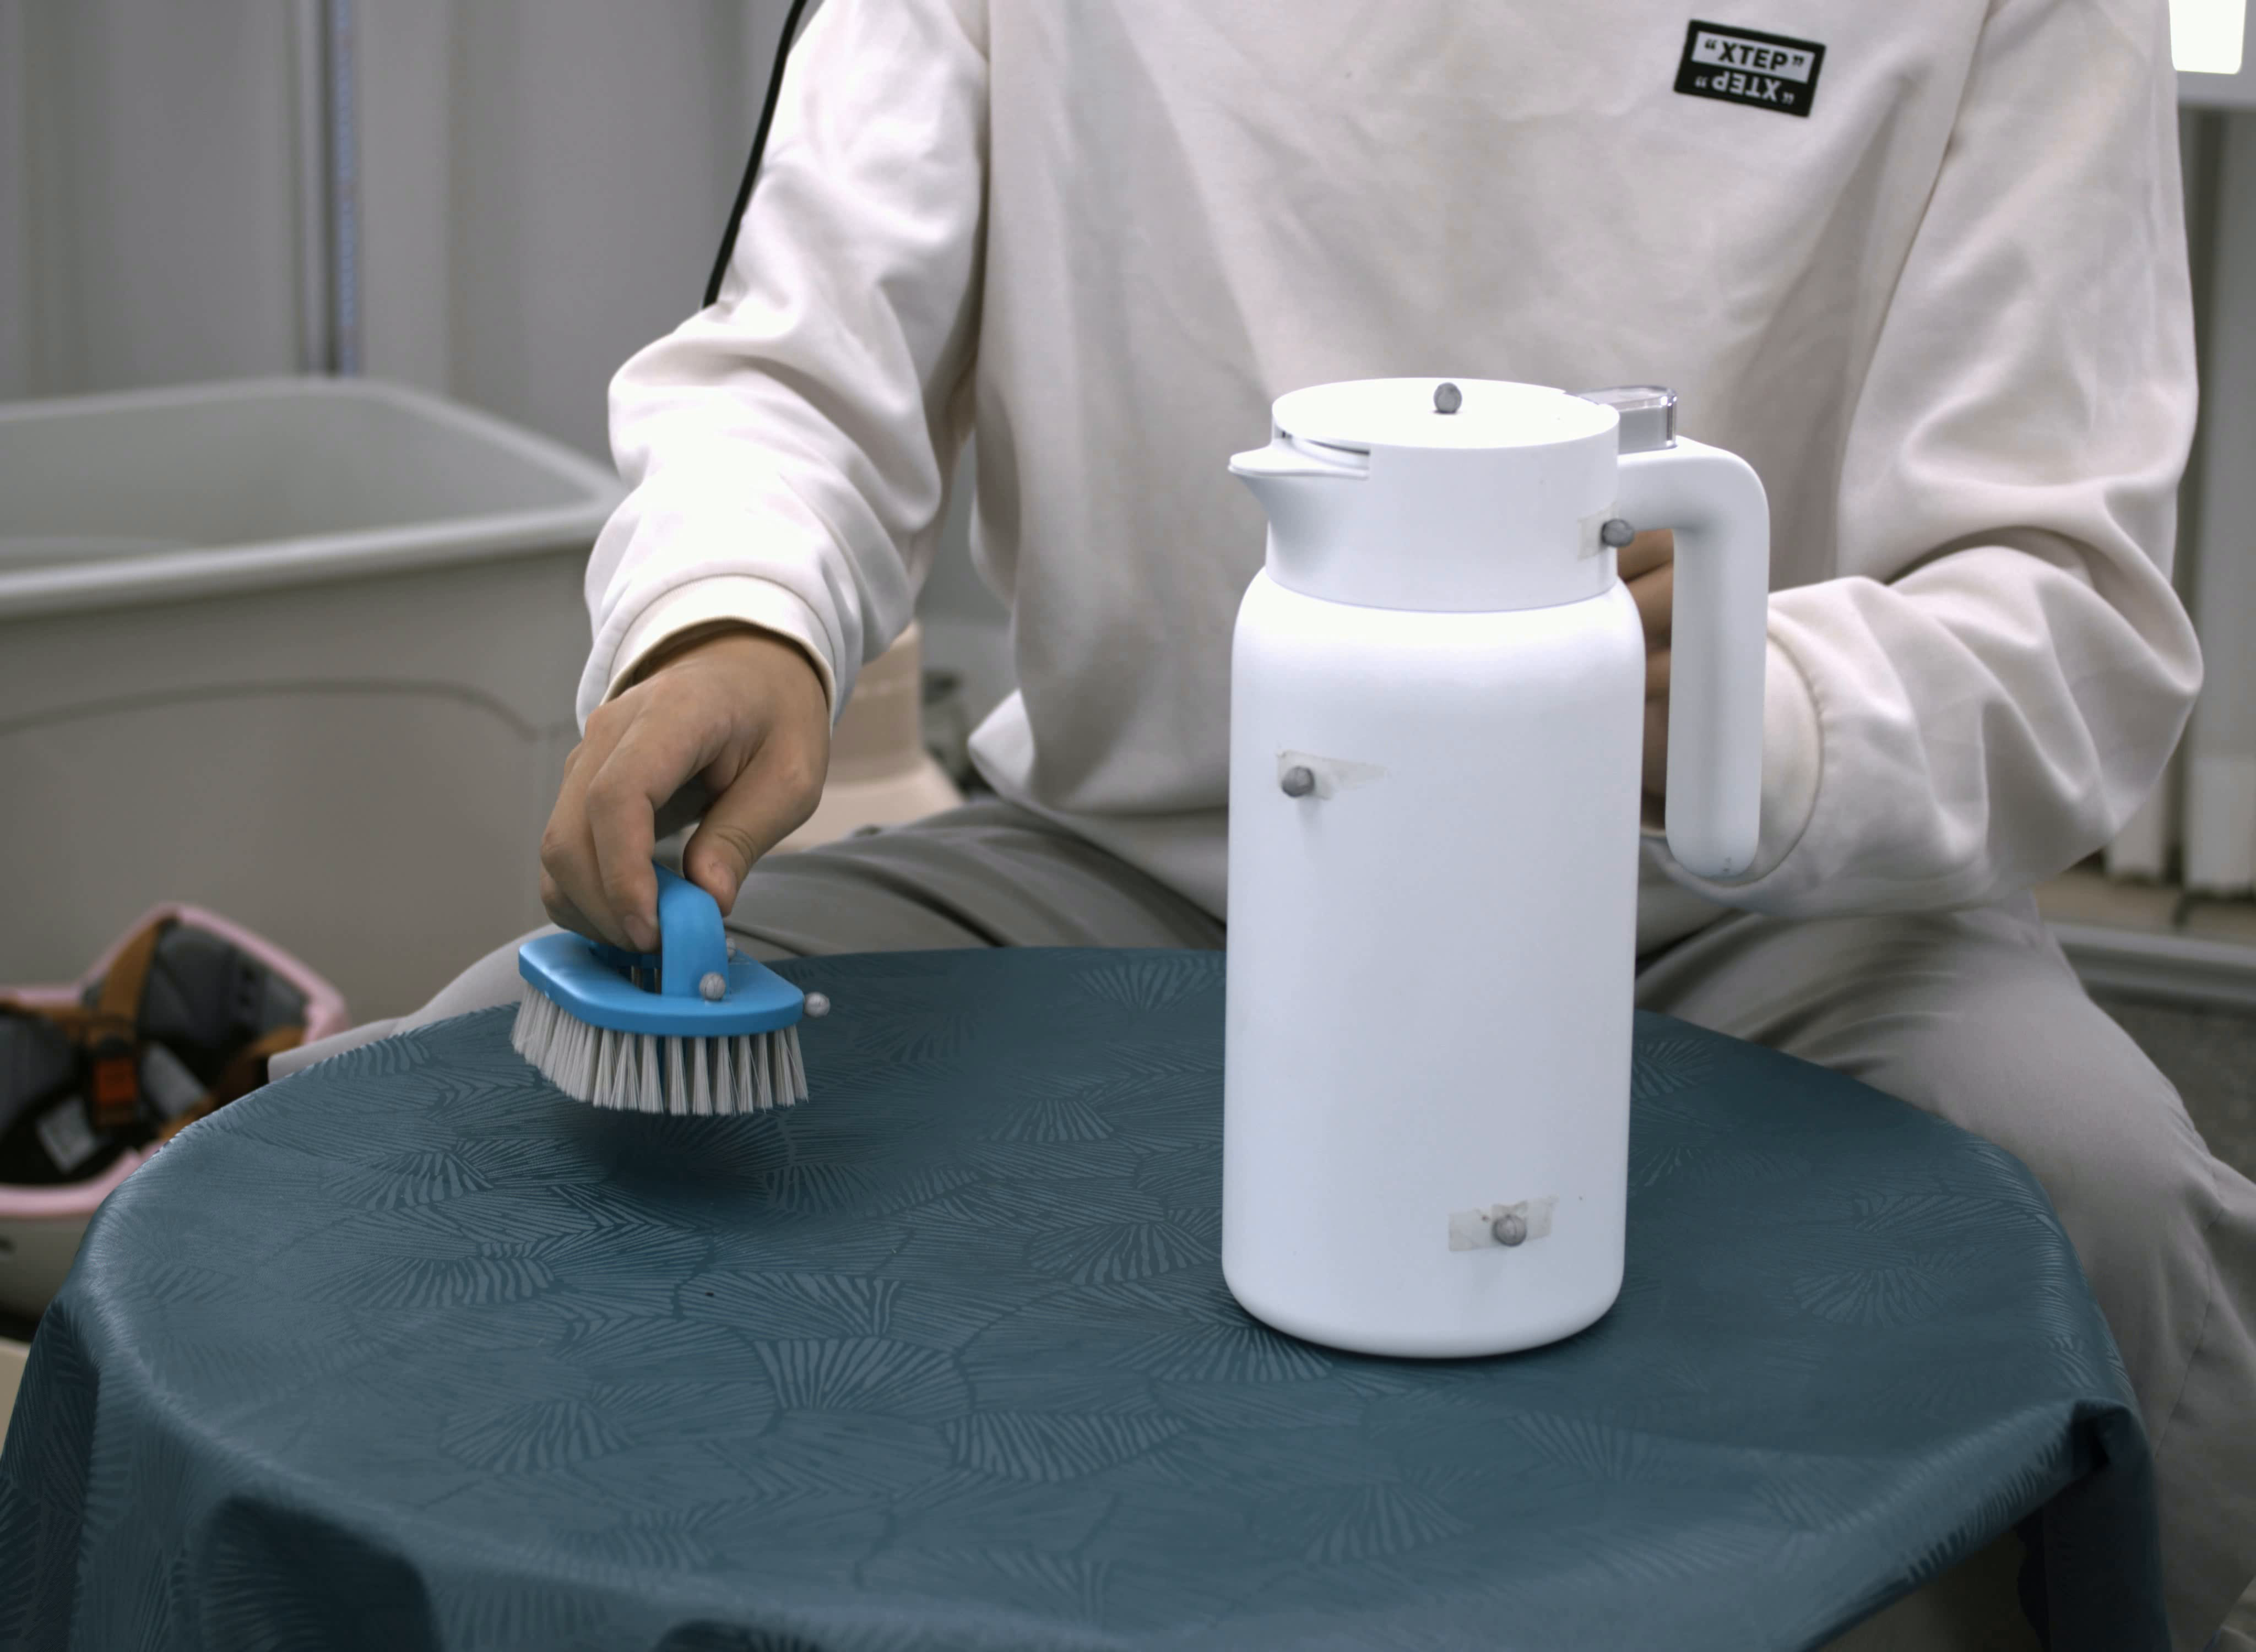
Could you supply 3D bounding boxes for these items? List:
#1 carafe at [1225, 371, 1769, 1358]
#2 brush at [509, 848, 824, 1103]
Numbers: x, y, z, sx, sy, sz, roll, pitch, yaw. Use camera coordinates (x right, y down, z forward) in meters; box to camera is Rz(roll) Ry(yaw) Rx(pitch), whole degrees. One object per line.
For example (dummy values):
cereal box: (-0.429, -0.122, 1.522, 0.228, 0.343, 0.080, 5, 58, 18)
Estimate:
carafe: (0.102, 0.008, 1.513, 0.173, 0.271, 0.122, -8, 16, -29)
brush: (-0.147, 0.043, 1.655, 0.084, 0.064, 0.140, -5, 11, -20)
